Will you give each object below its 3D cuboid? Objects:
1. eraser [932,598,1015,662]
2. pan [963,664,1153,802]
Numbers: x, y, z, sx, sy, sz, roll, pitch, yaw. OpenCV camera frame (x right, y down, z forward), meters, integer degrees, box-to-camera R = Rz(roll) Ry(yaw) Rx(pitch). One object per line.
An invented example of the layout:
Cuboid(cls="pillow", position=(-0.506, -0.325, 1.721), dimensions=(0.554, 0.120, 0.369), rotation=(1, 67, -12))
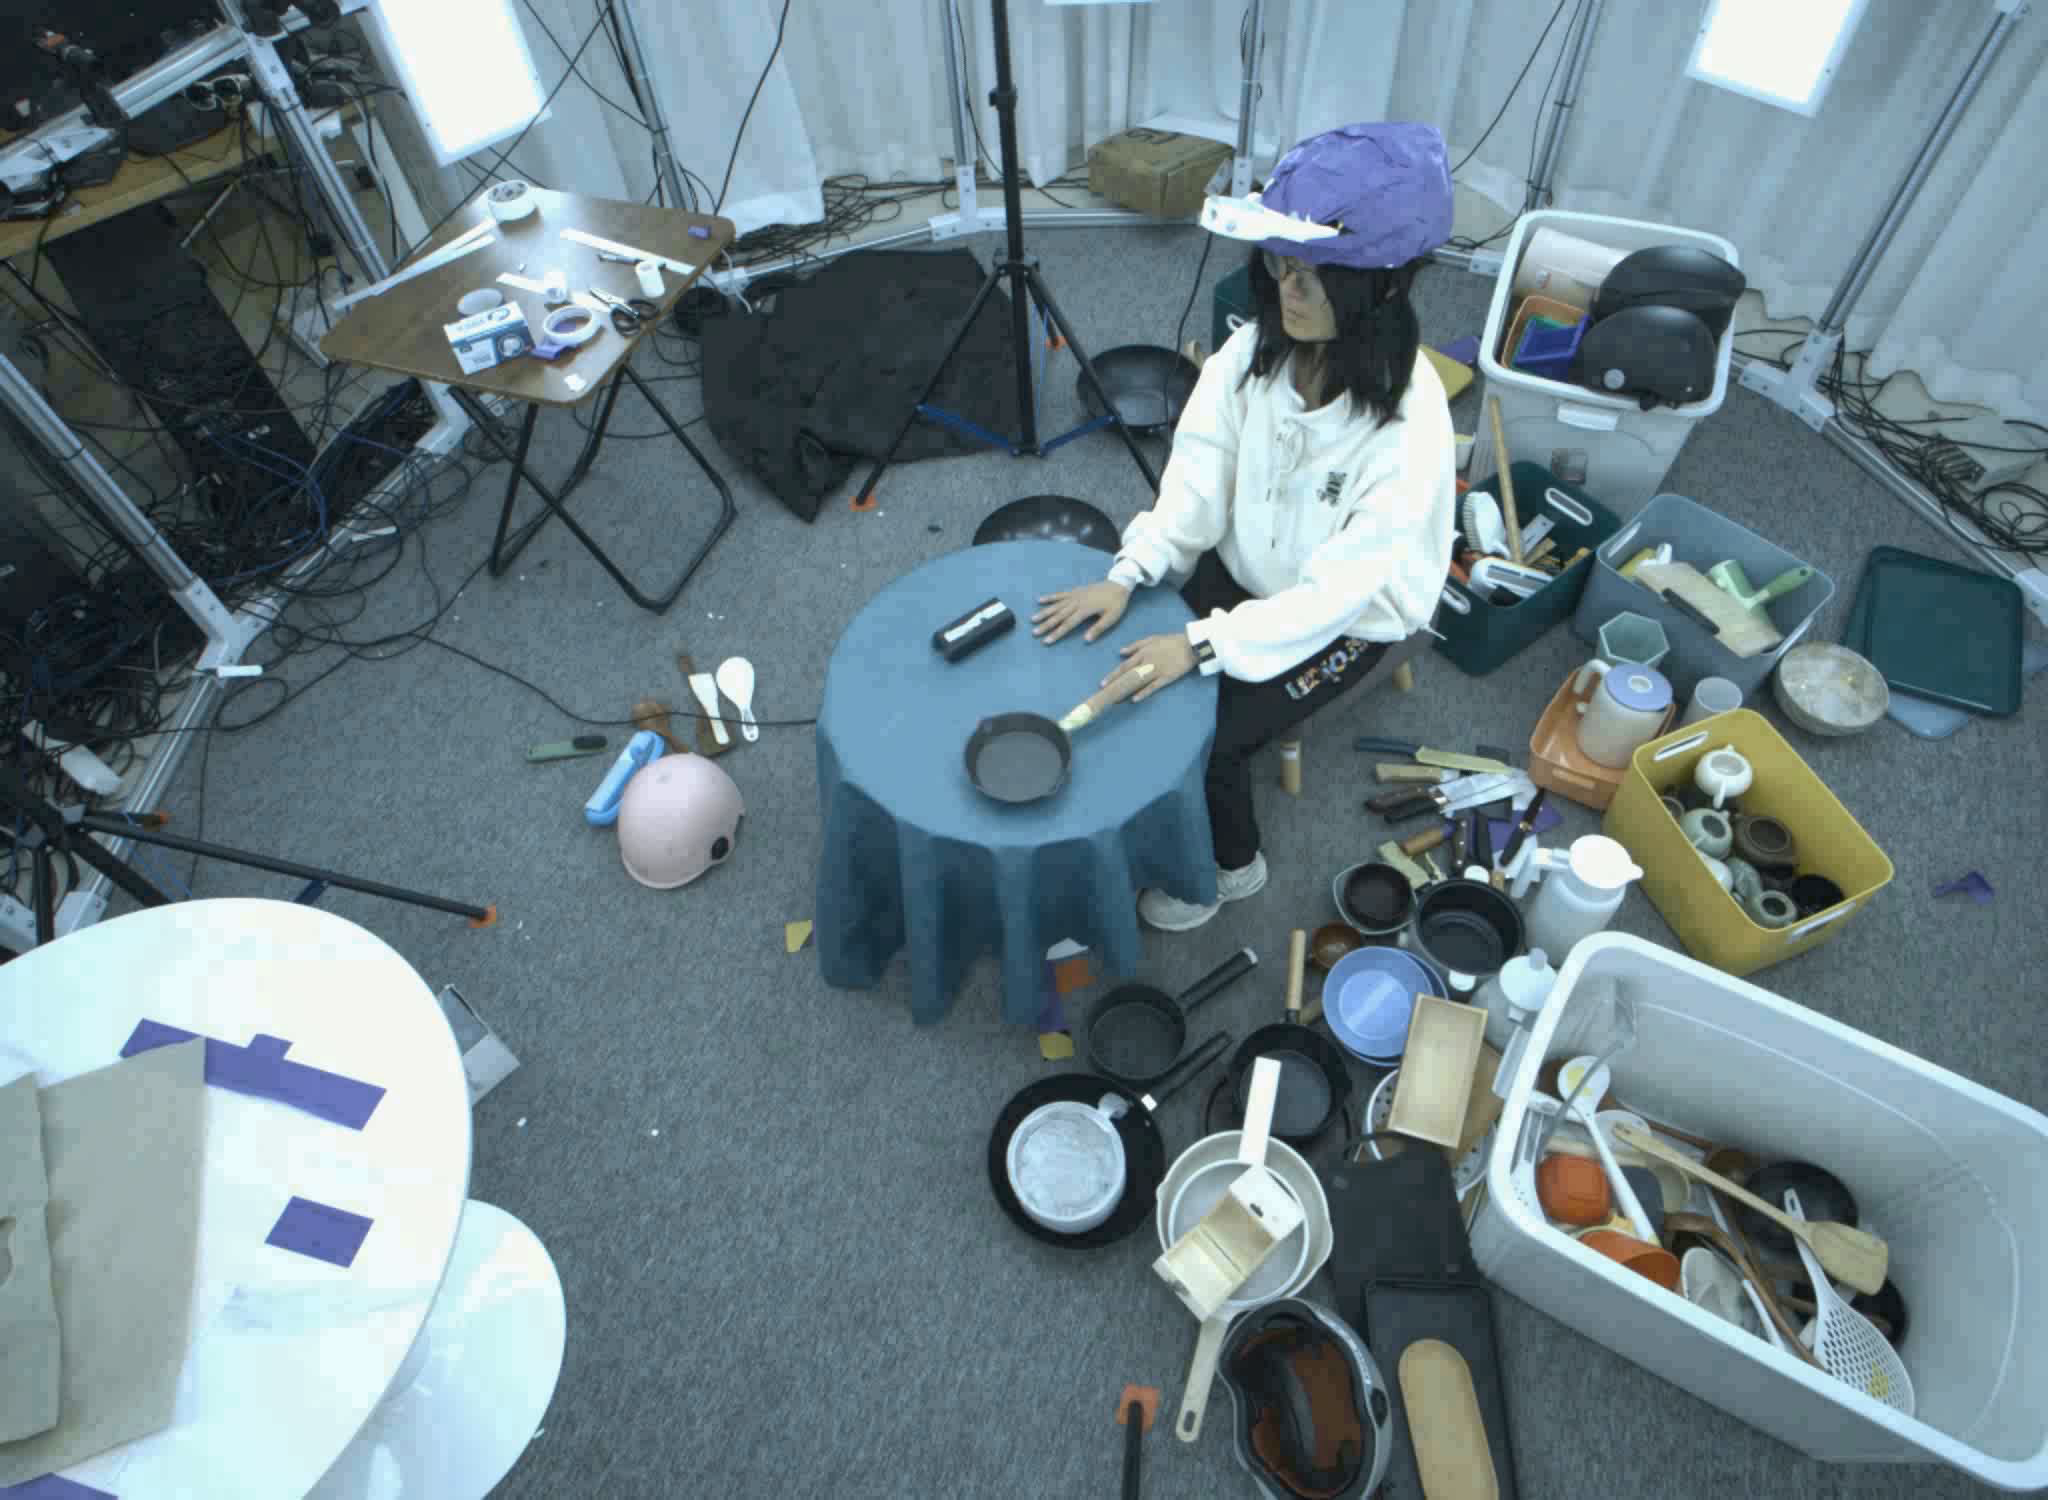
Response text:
Cuboid(cls="eraser", position=(-0.078, -0.187, 1.906), dimensions=(0.126, 0.031, 0.052), rotation=(-32, 60, -20))
Cuboid(cls="pan", position=(0.060, -0.033, 1.777), dimensions=(0.326, 0.050, 0.165), rotation=(-32, 58, -18))
